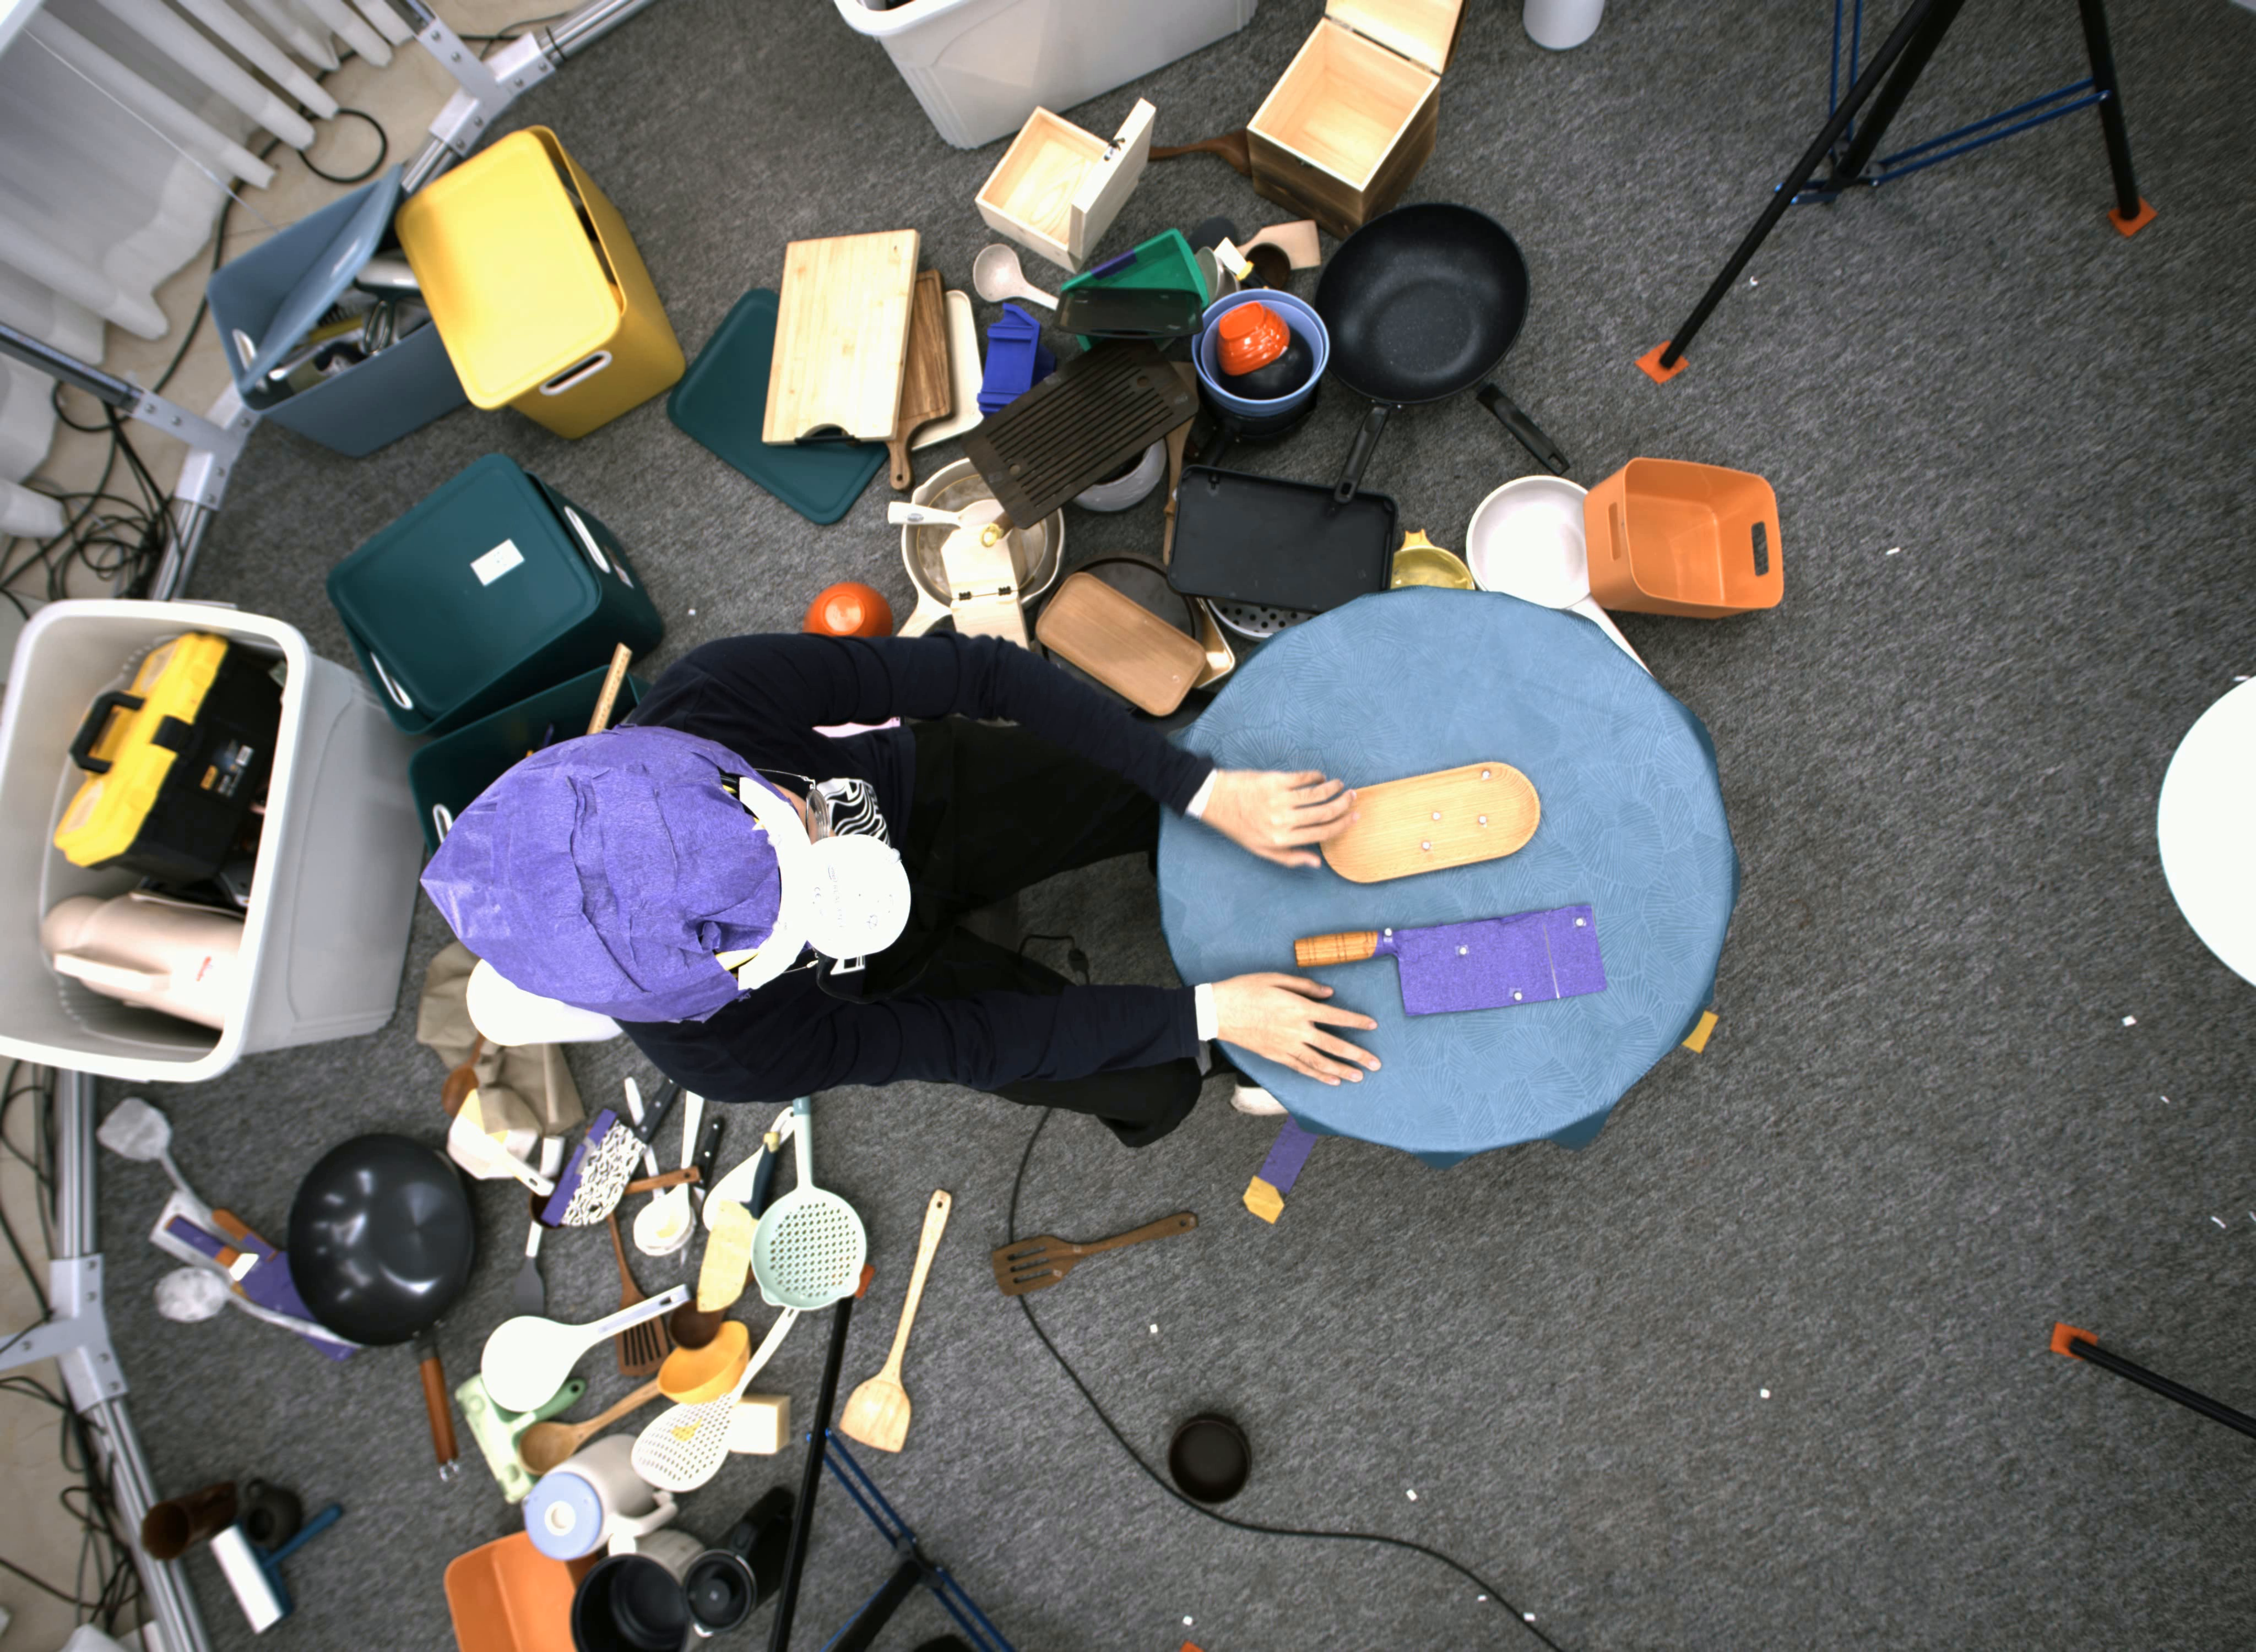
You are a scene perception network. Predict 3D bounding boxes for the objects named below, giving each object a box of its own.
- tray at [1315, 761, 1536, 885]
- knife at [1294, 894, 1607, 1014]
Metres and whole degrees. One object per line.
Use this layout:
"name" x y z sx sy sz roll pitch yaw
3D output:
"tray" 0.311 -0.004 1.448 0.232 0.020 0.101 -14 84 11
"knife" 0.334 0.142 1.430 0.317 0.032 0.103 -9 85 10
